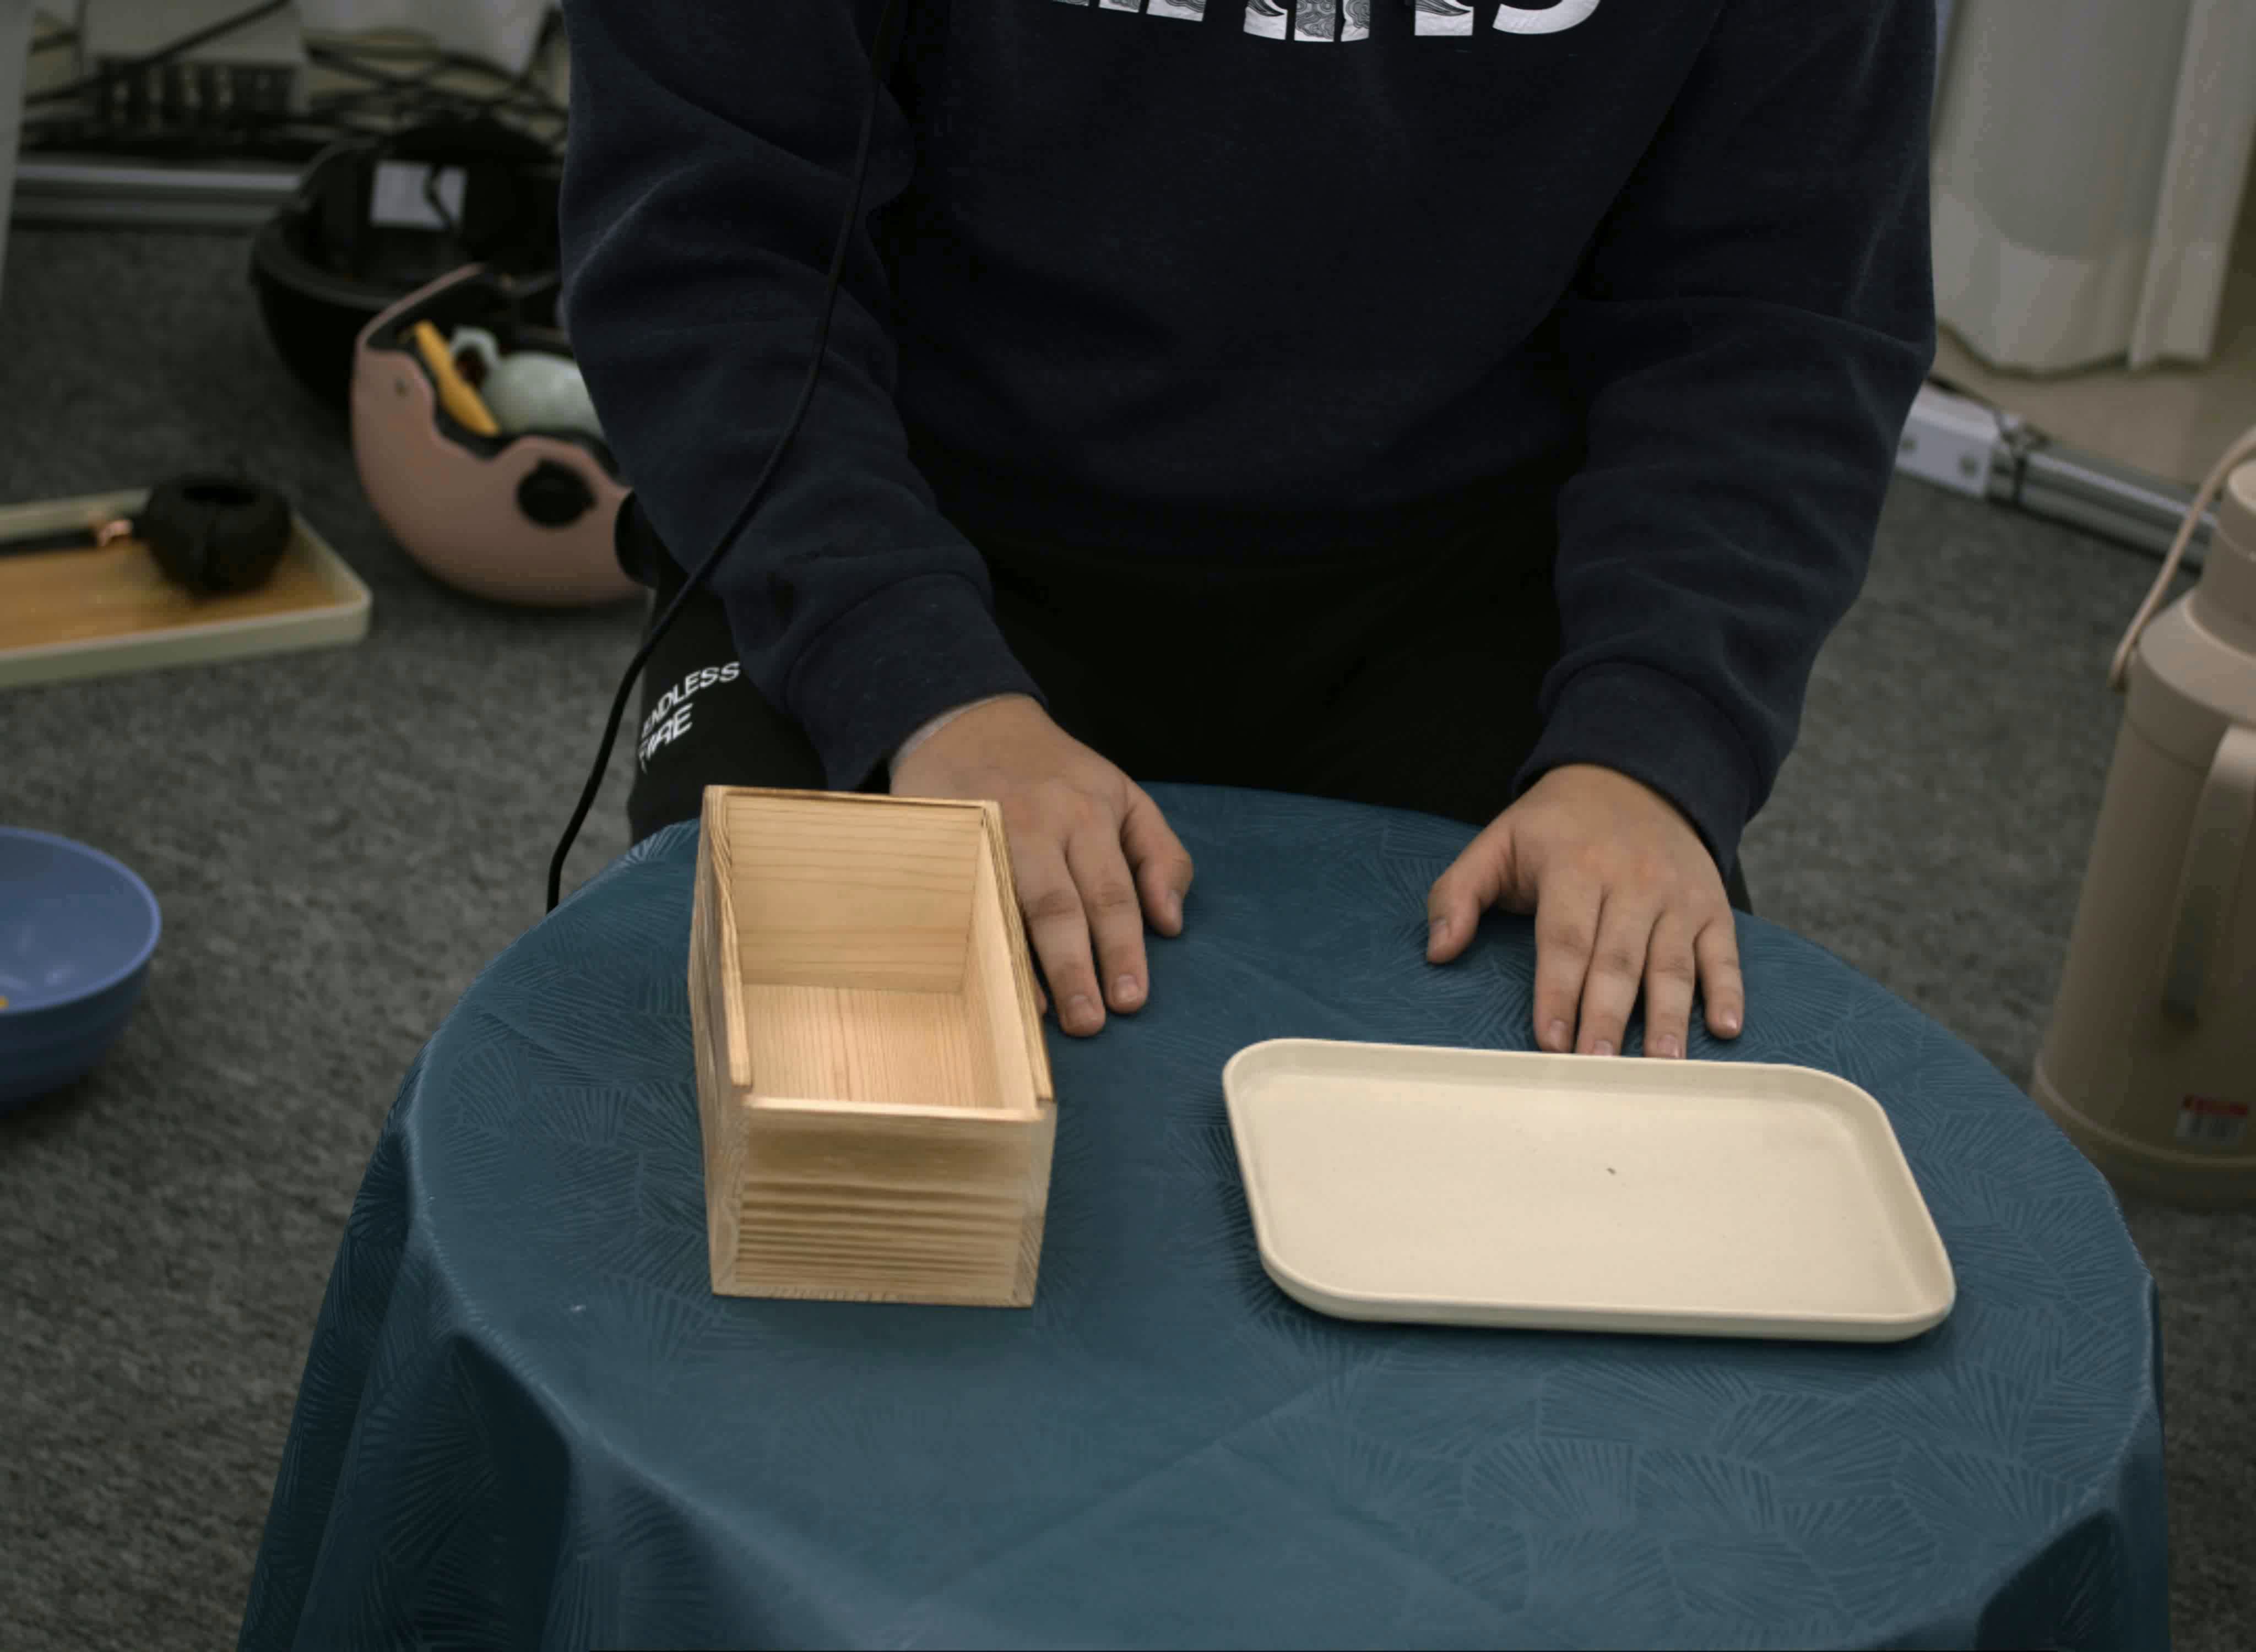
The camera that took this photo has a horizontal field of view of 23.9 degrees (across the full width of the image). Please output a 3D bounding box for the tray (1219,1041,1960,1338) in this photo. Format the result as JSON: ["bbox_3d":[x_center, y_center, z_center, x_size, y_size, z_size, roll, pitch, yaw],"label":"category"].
[{"bbox_3d":[0.155,0.125,1.821,0.238,0.017,0.172,3,26,-8],"label":"tray"}]

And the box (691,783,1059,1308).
[{"bbox_3d":[-0.089,0.071,1.801,0.107,0.080,0.213,3,27,-9],"label":"box"}]
